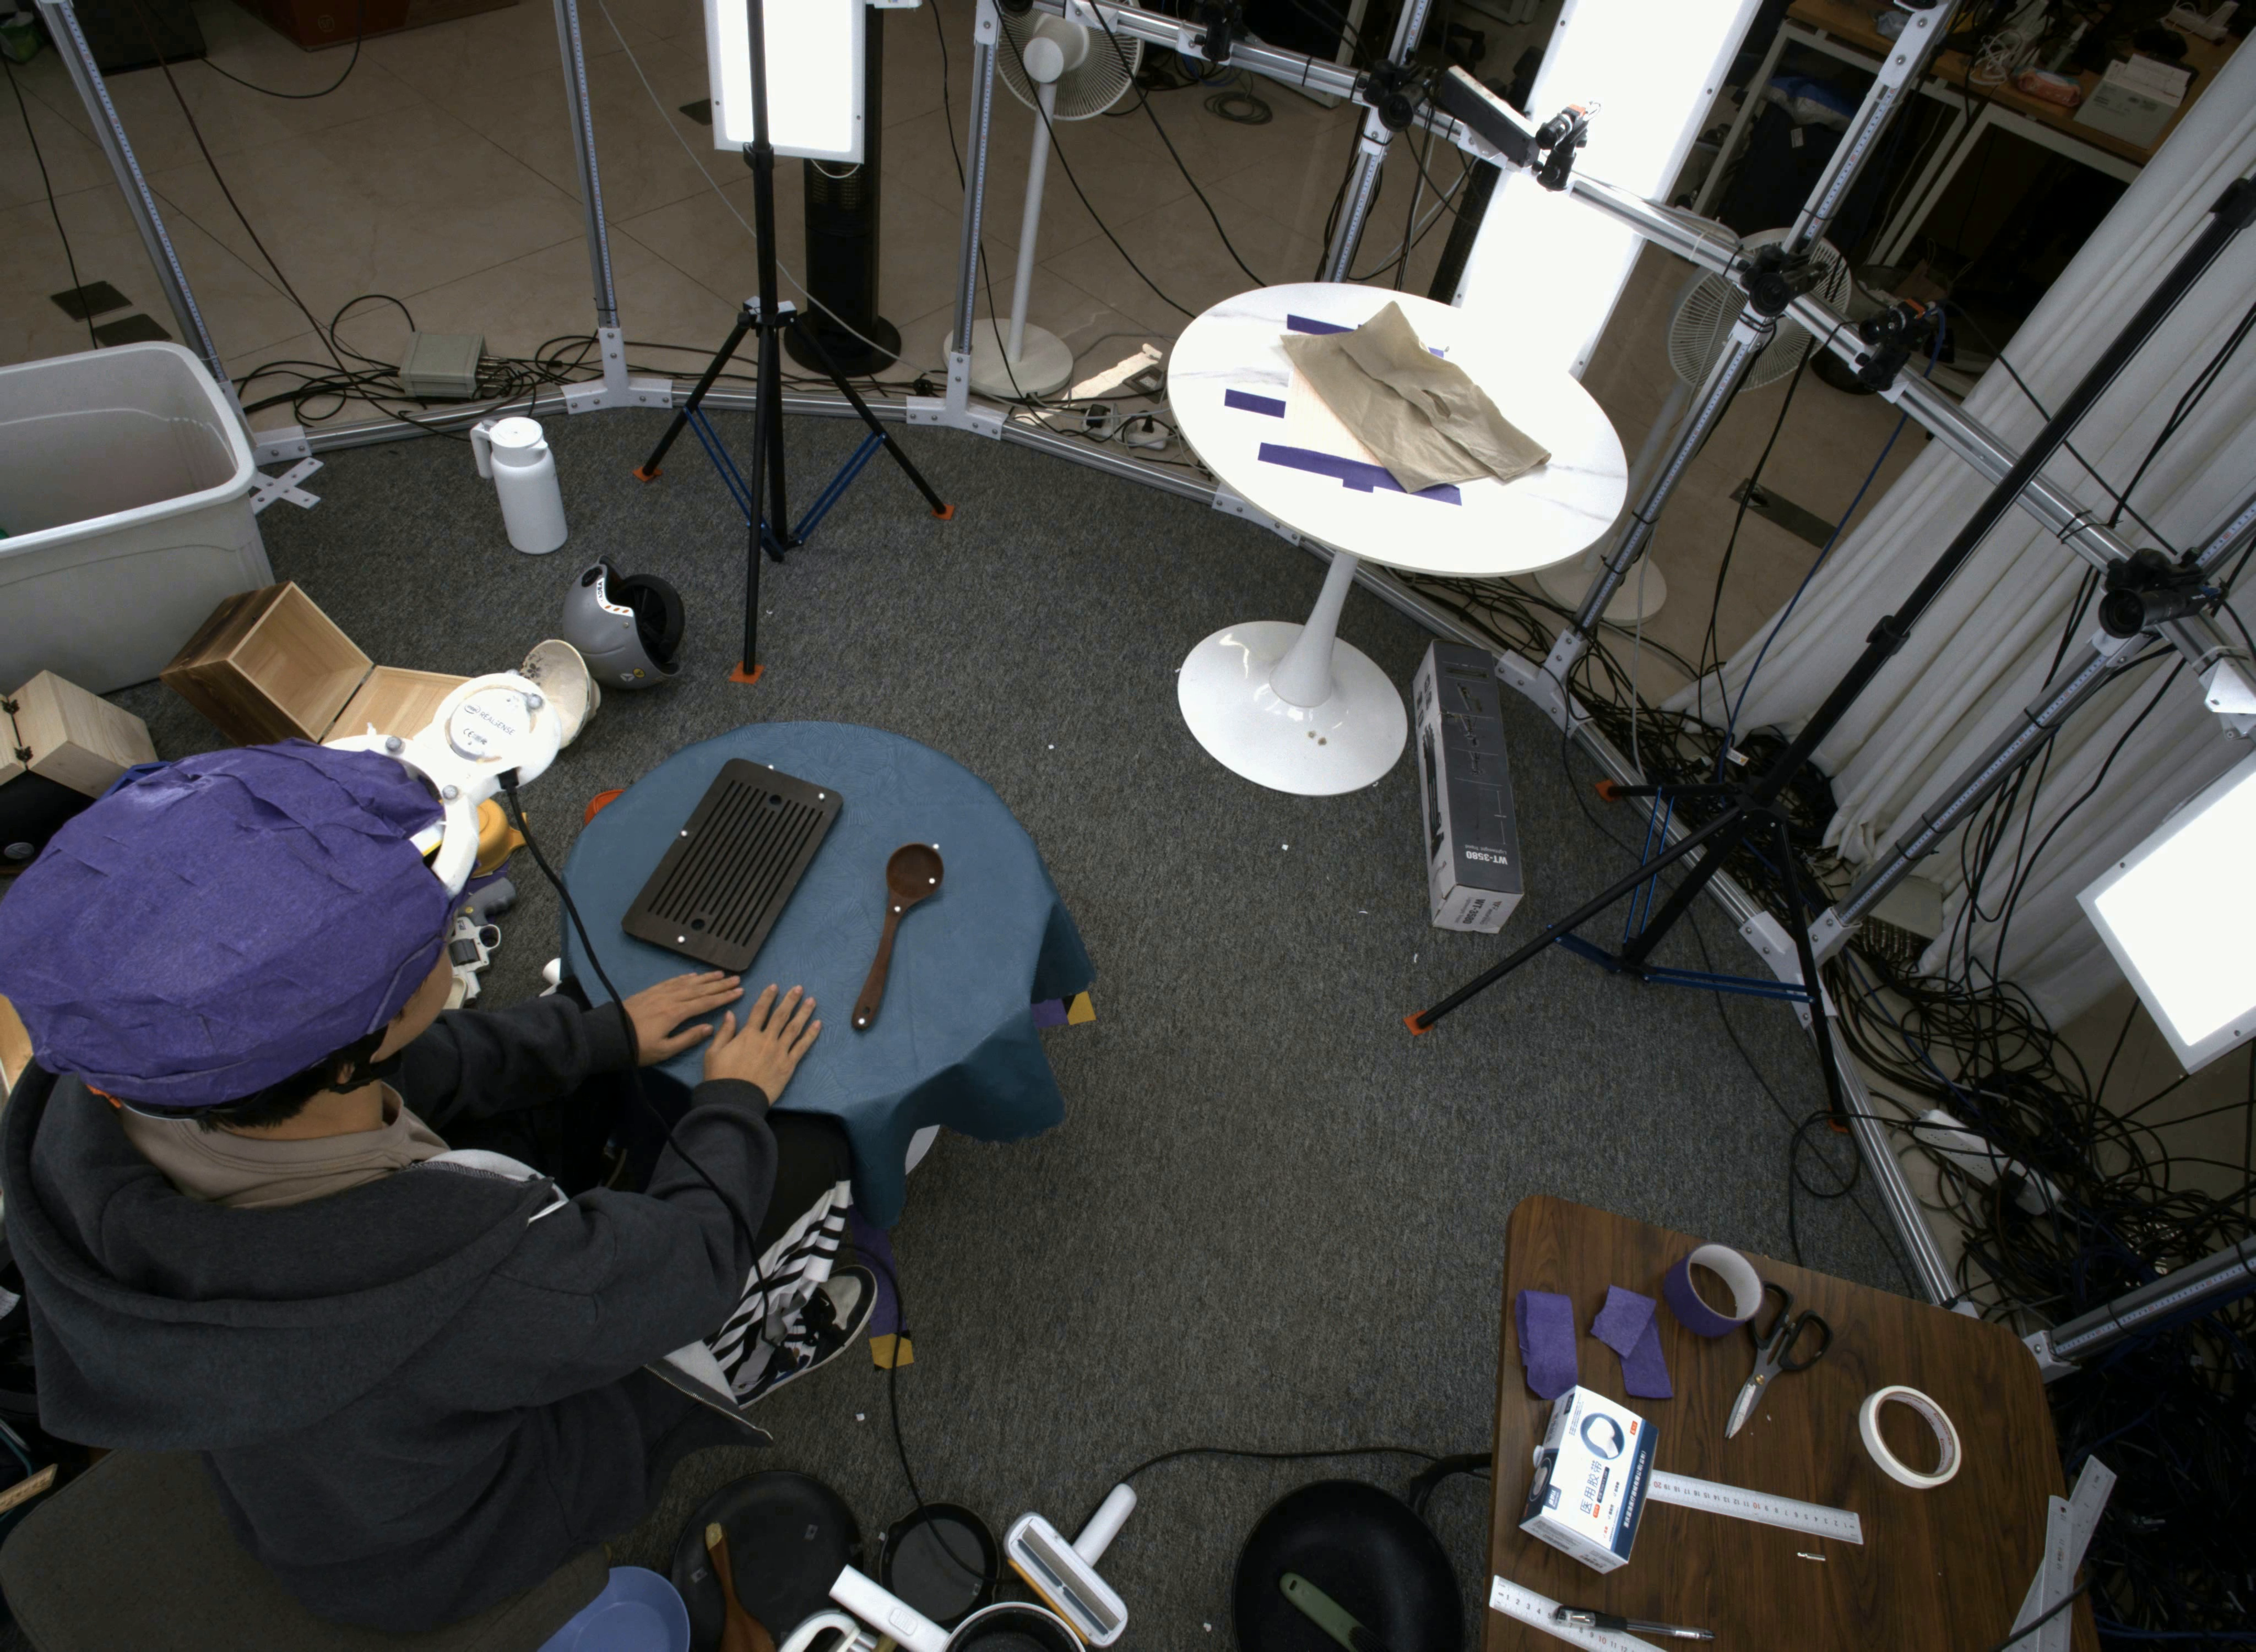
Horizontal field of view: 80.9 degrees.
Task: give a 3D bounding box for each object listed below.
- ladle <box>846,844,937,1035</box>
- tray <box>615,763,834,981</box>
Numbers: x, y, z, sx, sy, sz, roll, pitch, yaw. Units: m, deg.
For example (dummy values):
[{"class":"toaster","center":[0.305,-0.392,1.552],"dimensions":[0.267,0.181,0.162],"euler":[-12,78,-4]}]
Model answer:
[{"class":"ladle","center":[-0.300,0.135,1.619],"dimensions":[0.078,0.065,0.256],"euler":[26,49,-18]},{"class":"tray","center":[-0.513,0.052,1.656],"dimensions":[0.168,0.019,0.303],"euler":[20,52,1]}]
